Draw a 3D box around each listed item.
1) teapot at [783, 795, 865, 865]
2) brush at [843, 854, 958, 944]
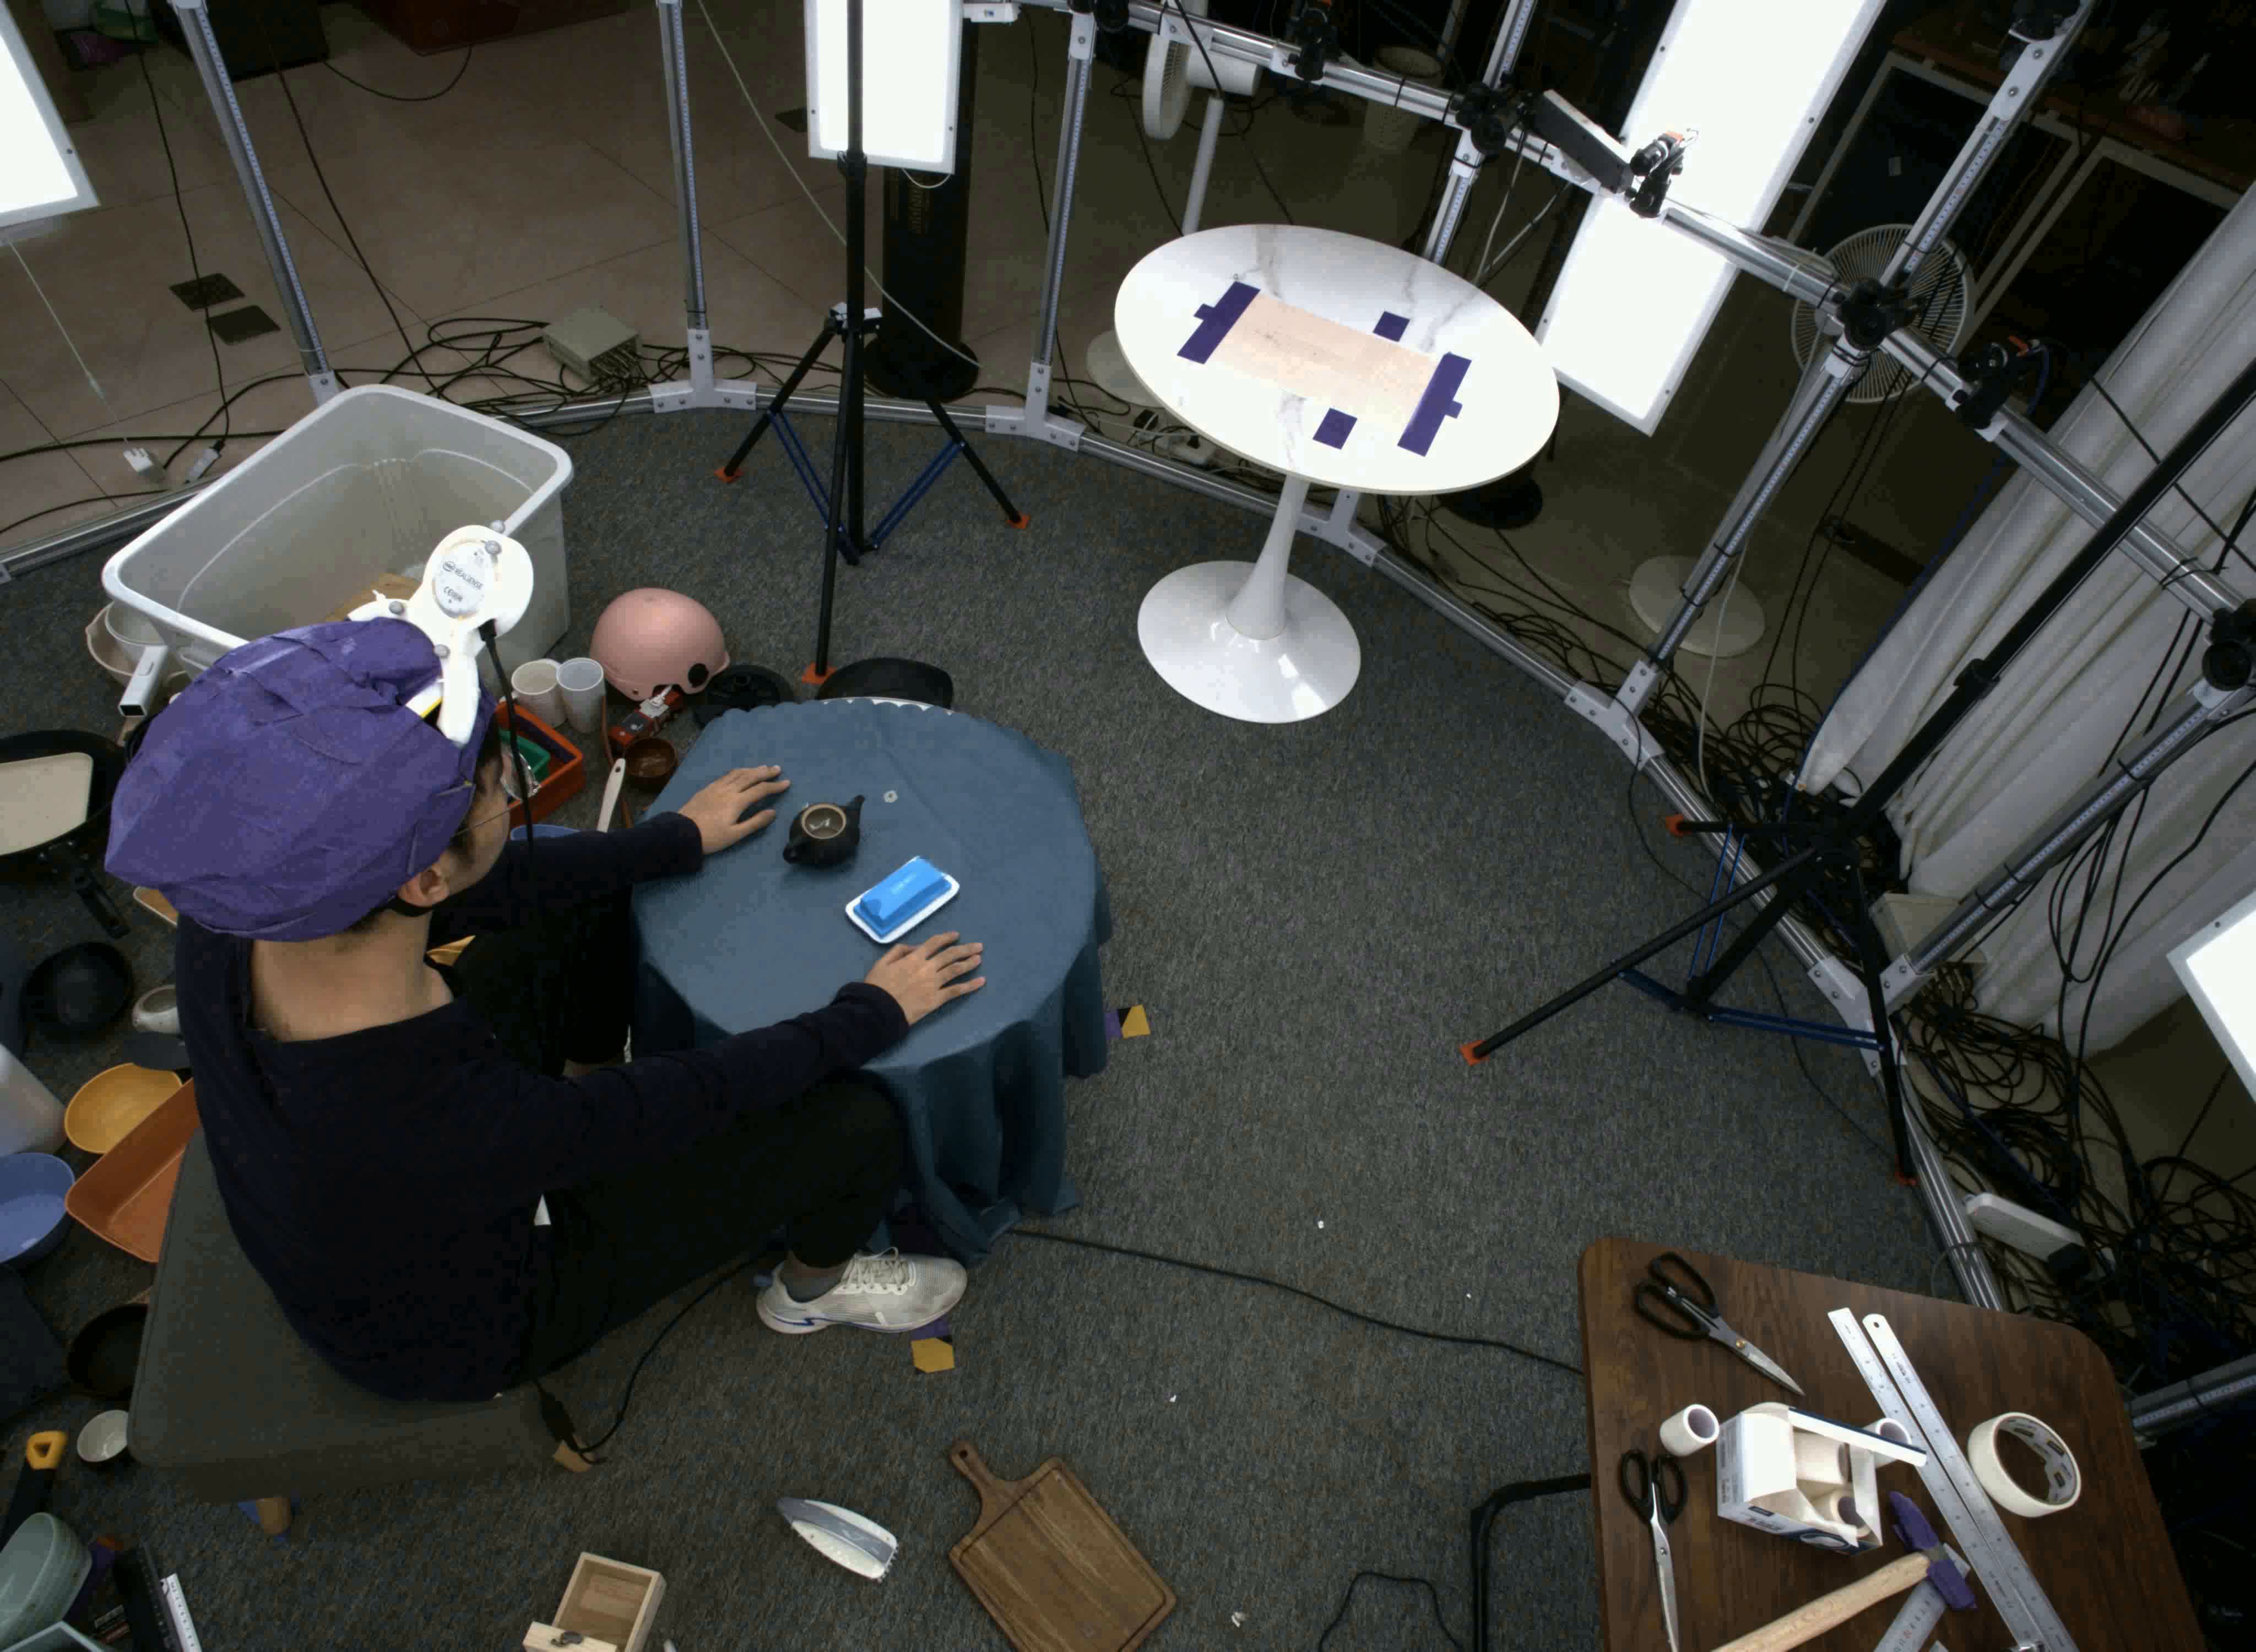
[{"bbox_3d":[-0.396,0.008,1.690,0.089,0.054,0.133,39,54,18],"label":"teapot"},{"bbox_3d":[-0.289,0.084,1.657,0.081,0.057,0.144,39,51,22],"label":"brush"}]
